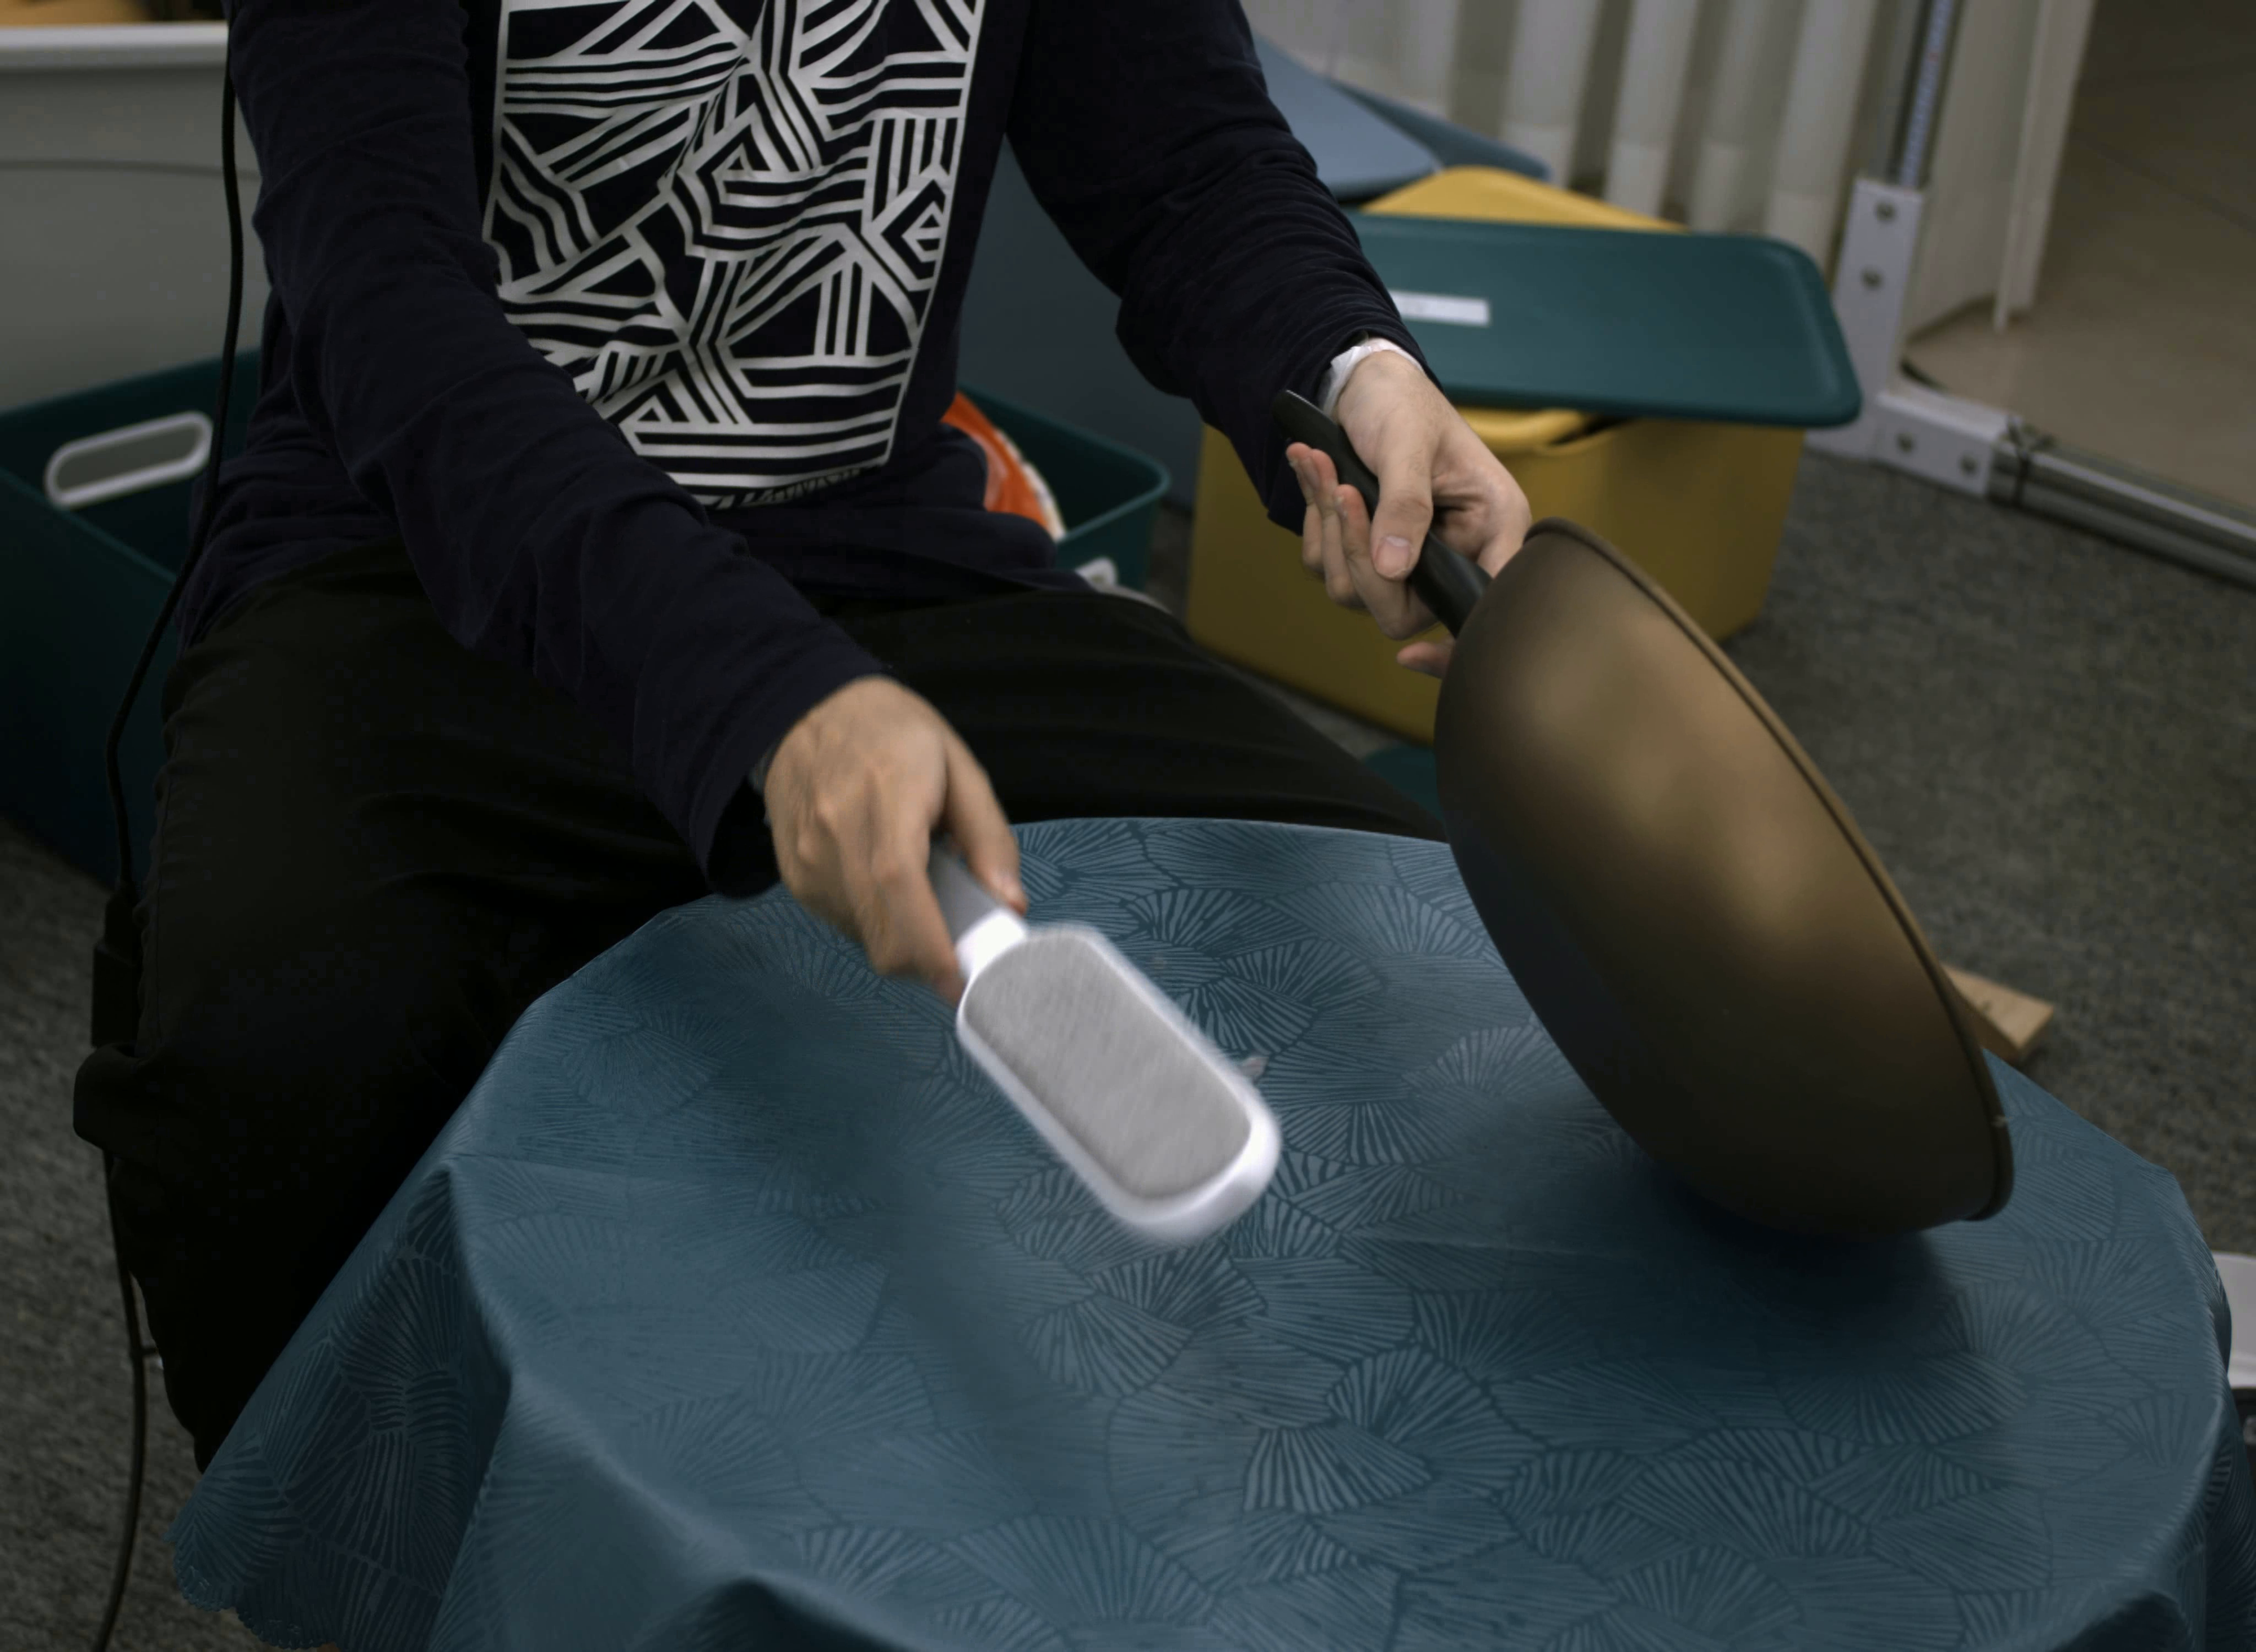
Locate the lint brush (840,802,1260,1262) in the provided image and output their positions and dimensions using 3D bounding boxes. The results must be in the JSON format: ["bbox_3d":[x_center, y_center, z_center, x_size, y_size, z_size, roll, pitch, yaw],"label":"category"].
[{"bbox_3d":[-0.033,0.059,1.732,0.060,0.021,0.311,-40,33,-3],"label":"lint brush"}]

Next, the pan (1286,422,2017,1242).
[{"bbox_3d":[0.139,-0.014,1.848,0.087,0.286,0.468,-32,43,-8],"label":"pan"}]
